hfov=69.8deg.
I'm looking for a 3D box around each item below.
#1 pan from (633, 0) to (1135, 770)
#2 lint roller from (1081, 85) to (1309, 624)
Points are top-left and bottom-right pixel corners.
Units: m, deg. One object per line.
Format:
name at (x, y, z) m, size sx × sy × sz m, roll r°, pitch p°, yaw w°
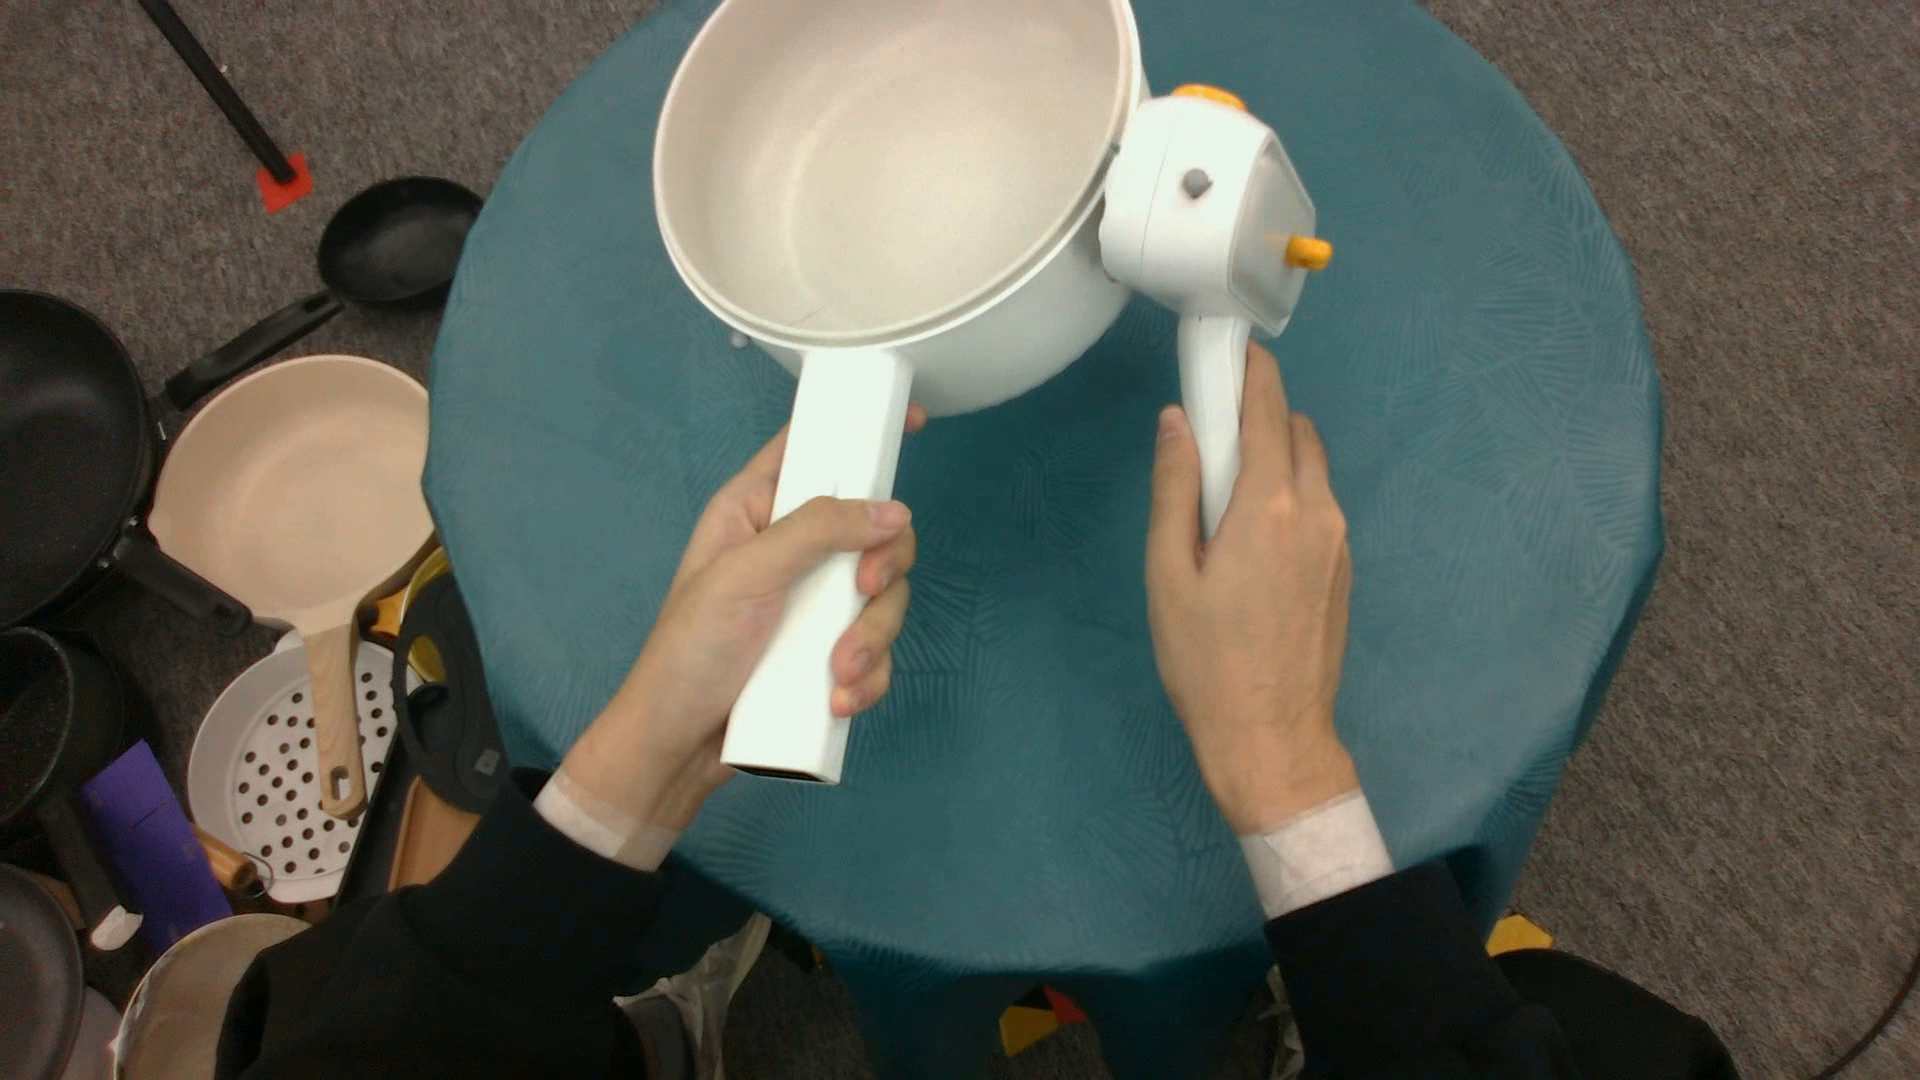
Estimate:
pan at (-0.034, -0.083, 0.551) m, size 0.201 × 0.102 × 0.355 m, roll 2°, pitch 73°, yaw 19°
lint roller at (0.093, -0.064, 0.539) m, size 0.074 × 0.193 × 0.192 m, roll 7°, pitch 97°, yaw 14°
